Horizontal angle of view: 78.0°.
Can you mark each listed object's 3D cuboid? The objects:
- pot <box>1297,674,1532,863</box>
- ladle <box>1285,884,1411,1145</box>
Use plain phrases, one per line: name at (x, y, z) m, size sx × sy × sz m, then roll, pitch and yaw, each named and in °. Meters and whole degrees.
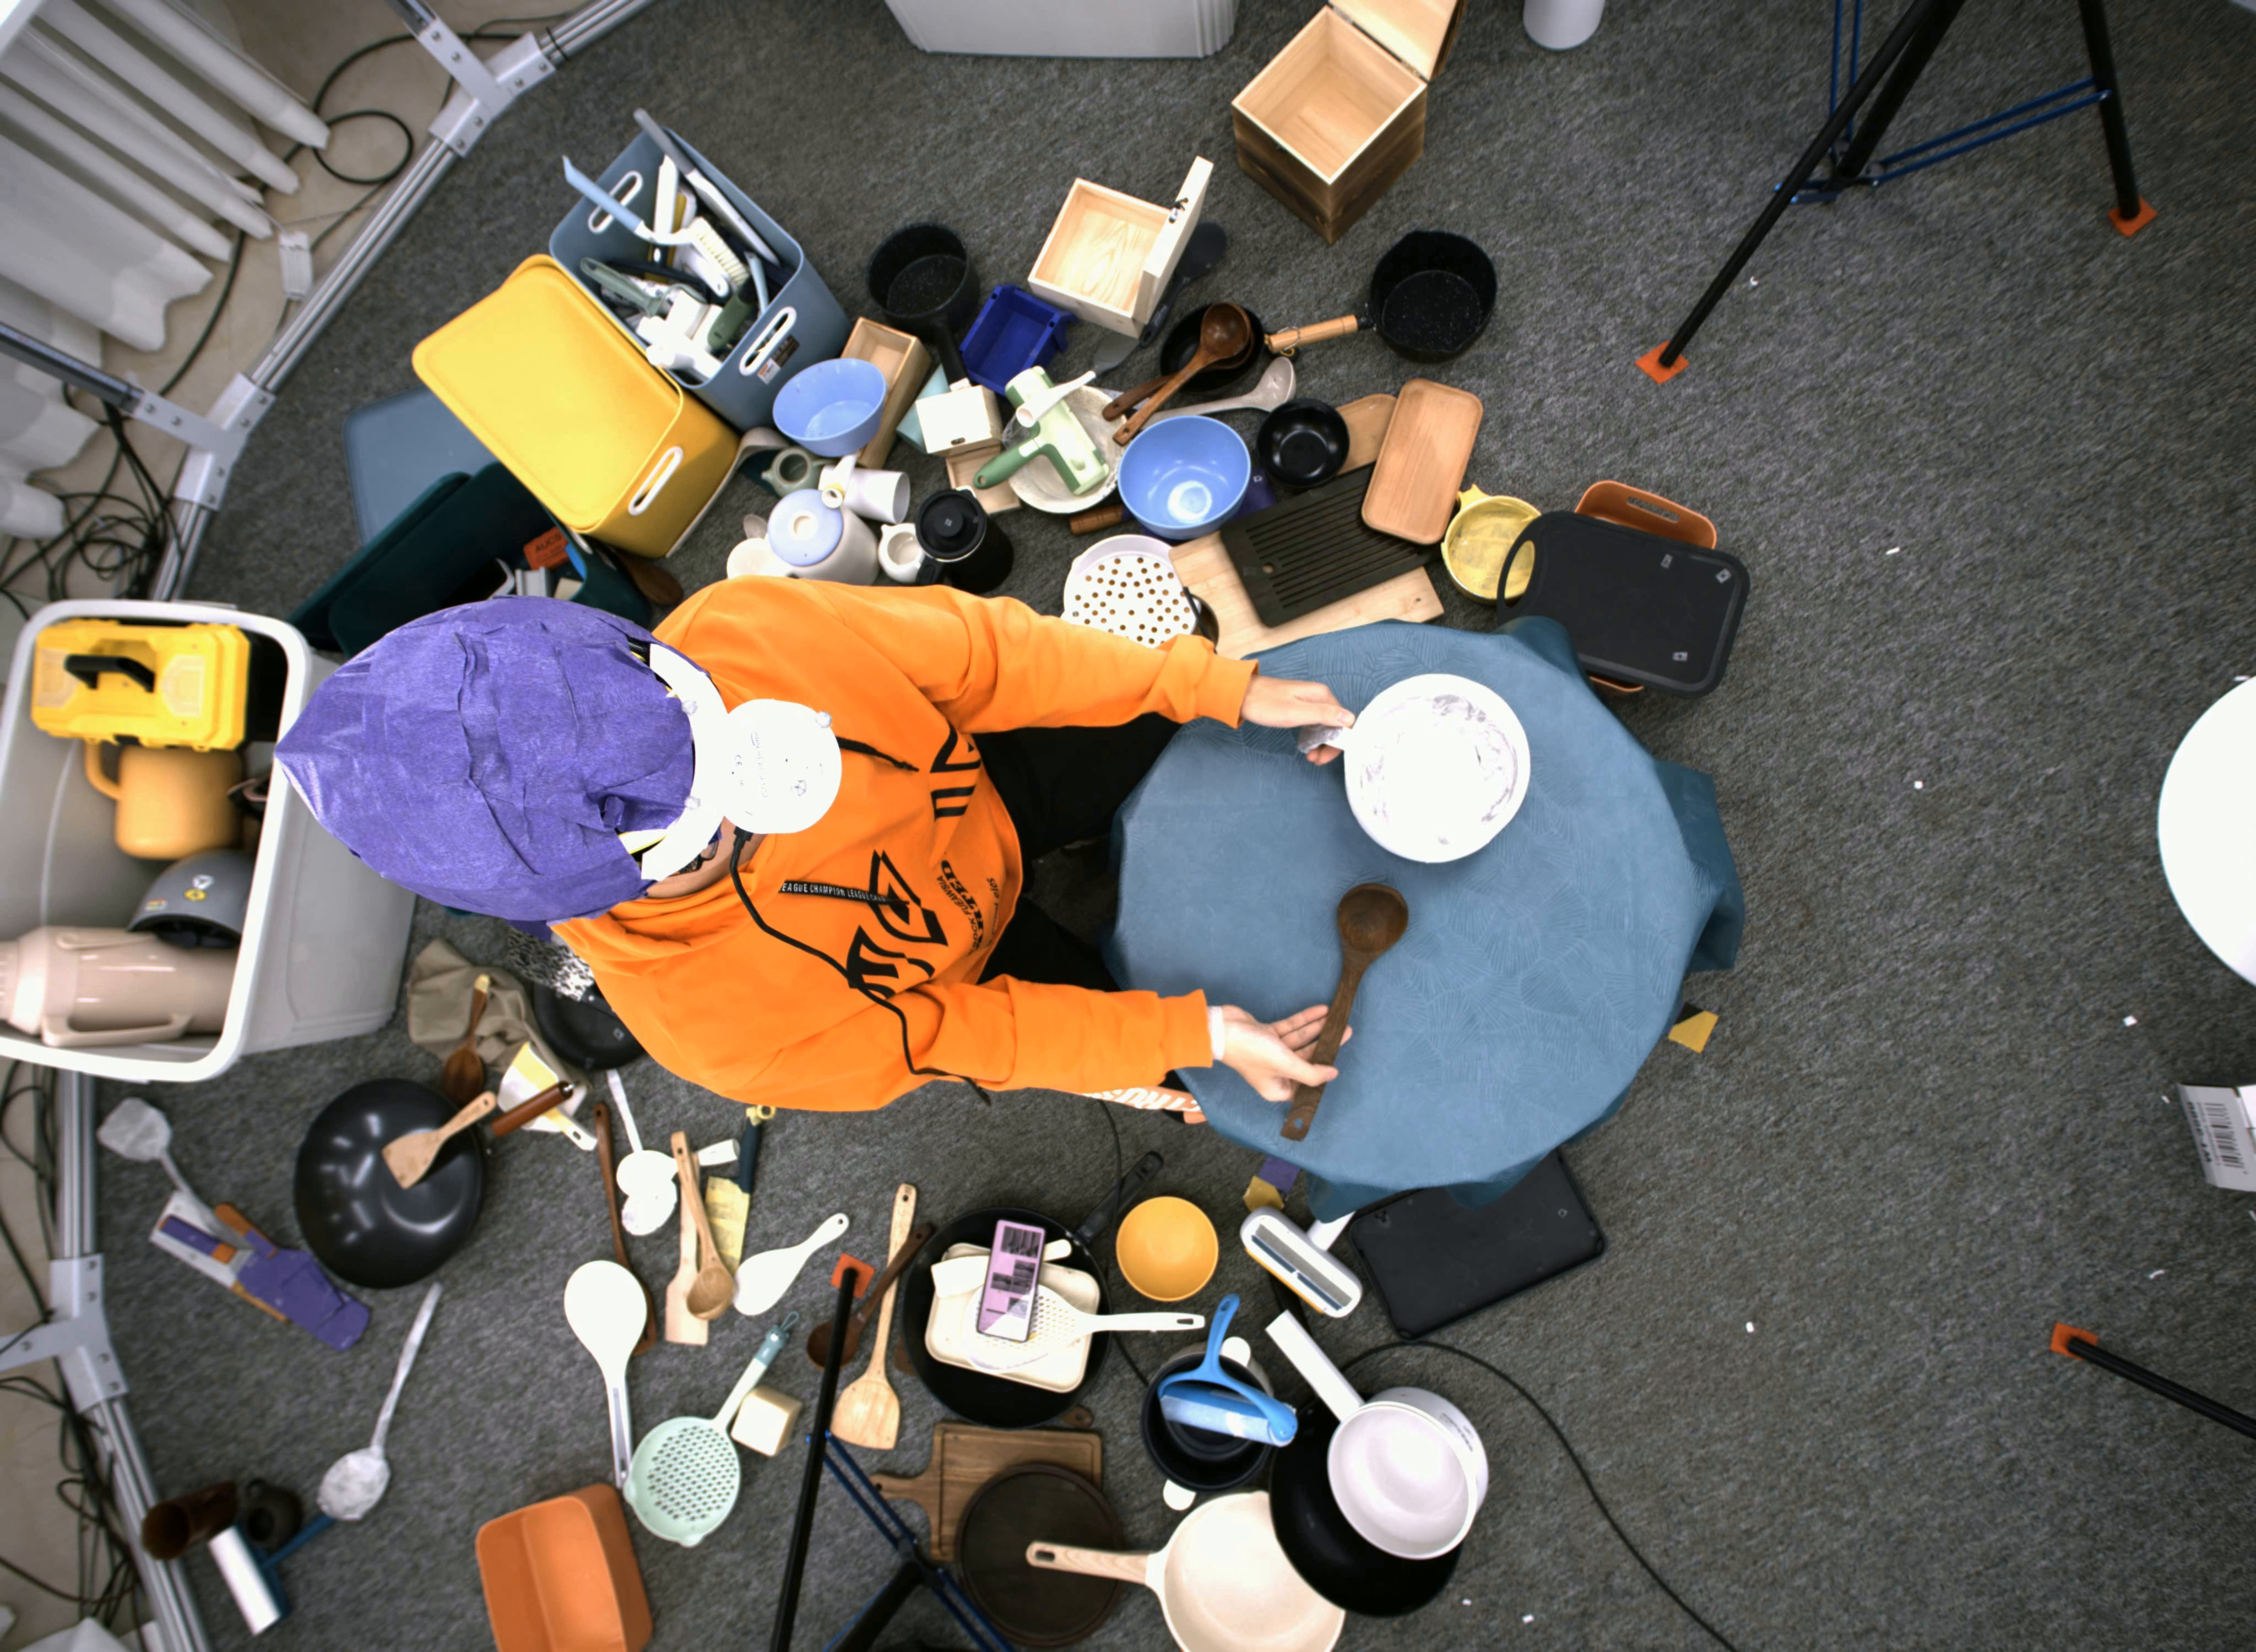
pot at (0.283, -0.064, 1.395) m, size 0.234 × 0.137 × 0.178 m, roll 18°, pitch 89°, yaw 11°
ladle at (0.217, 0.189, 1.410) m, size 0.076 × 0.072 × 0.270 m, roll 20°, pitch 77°, yaw 10°
